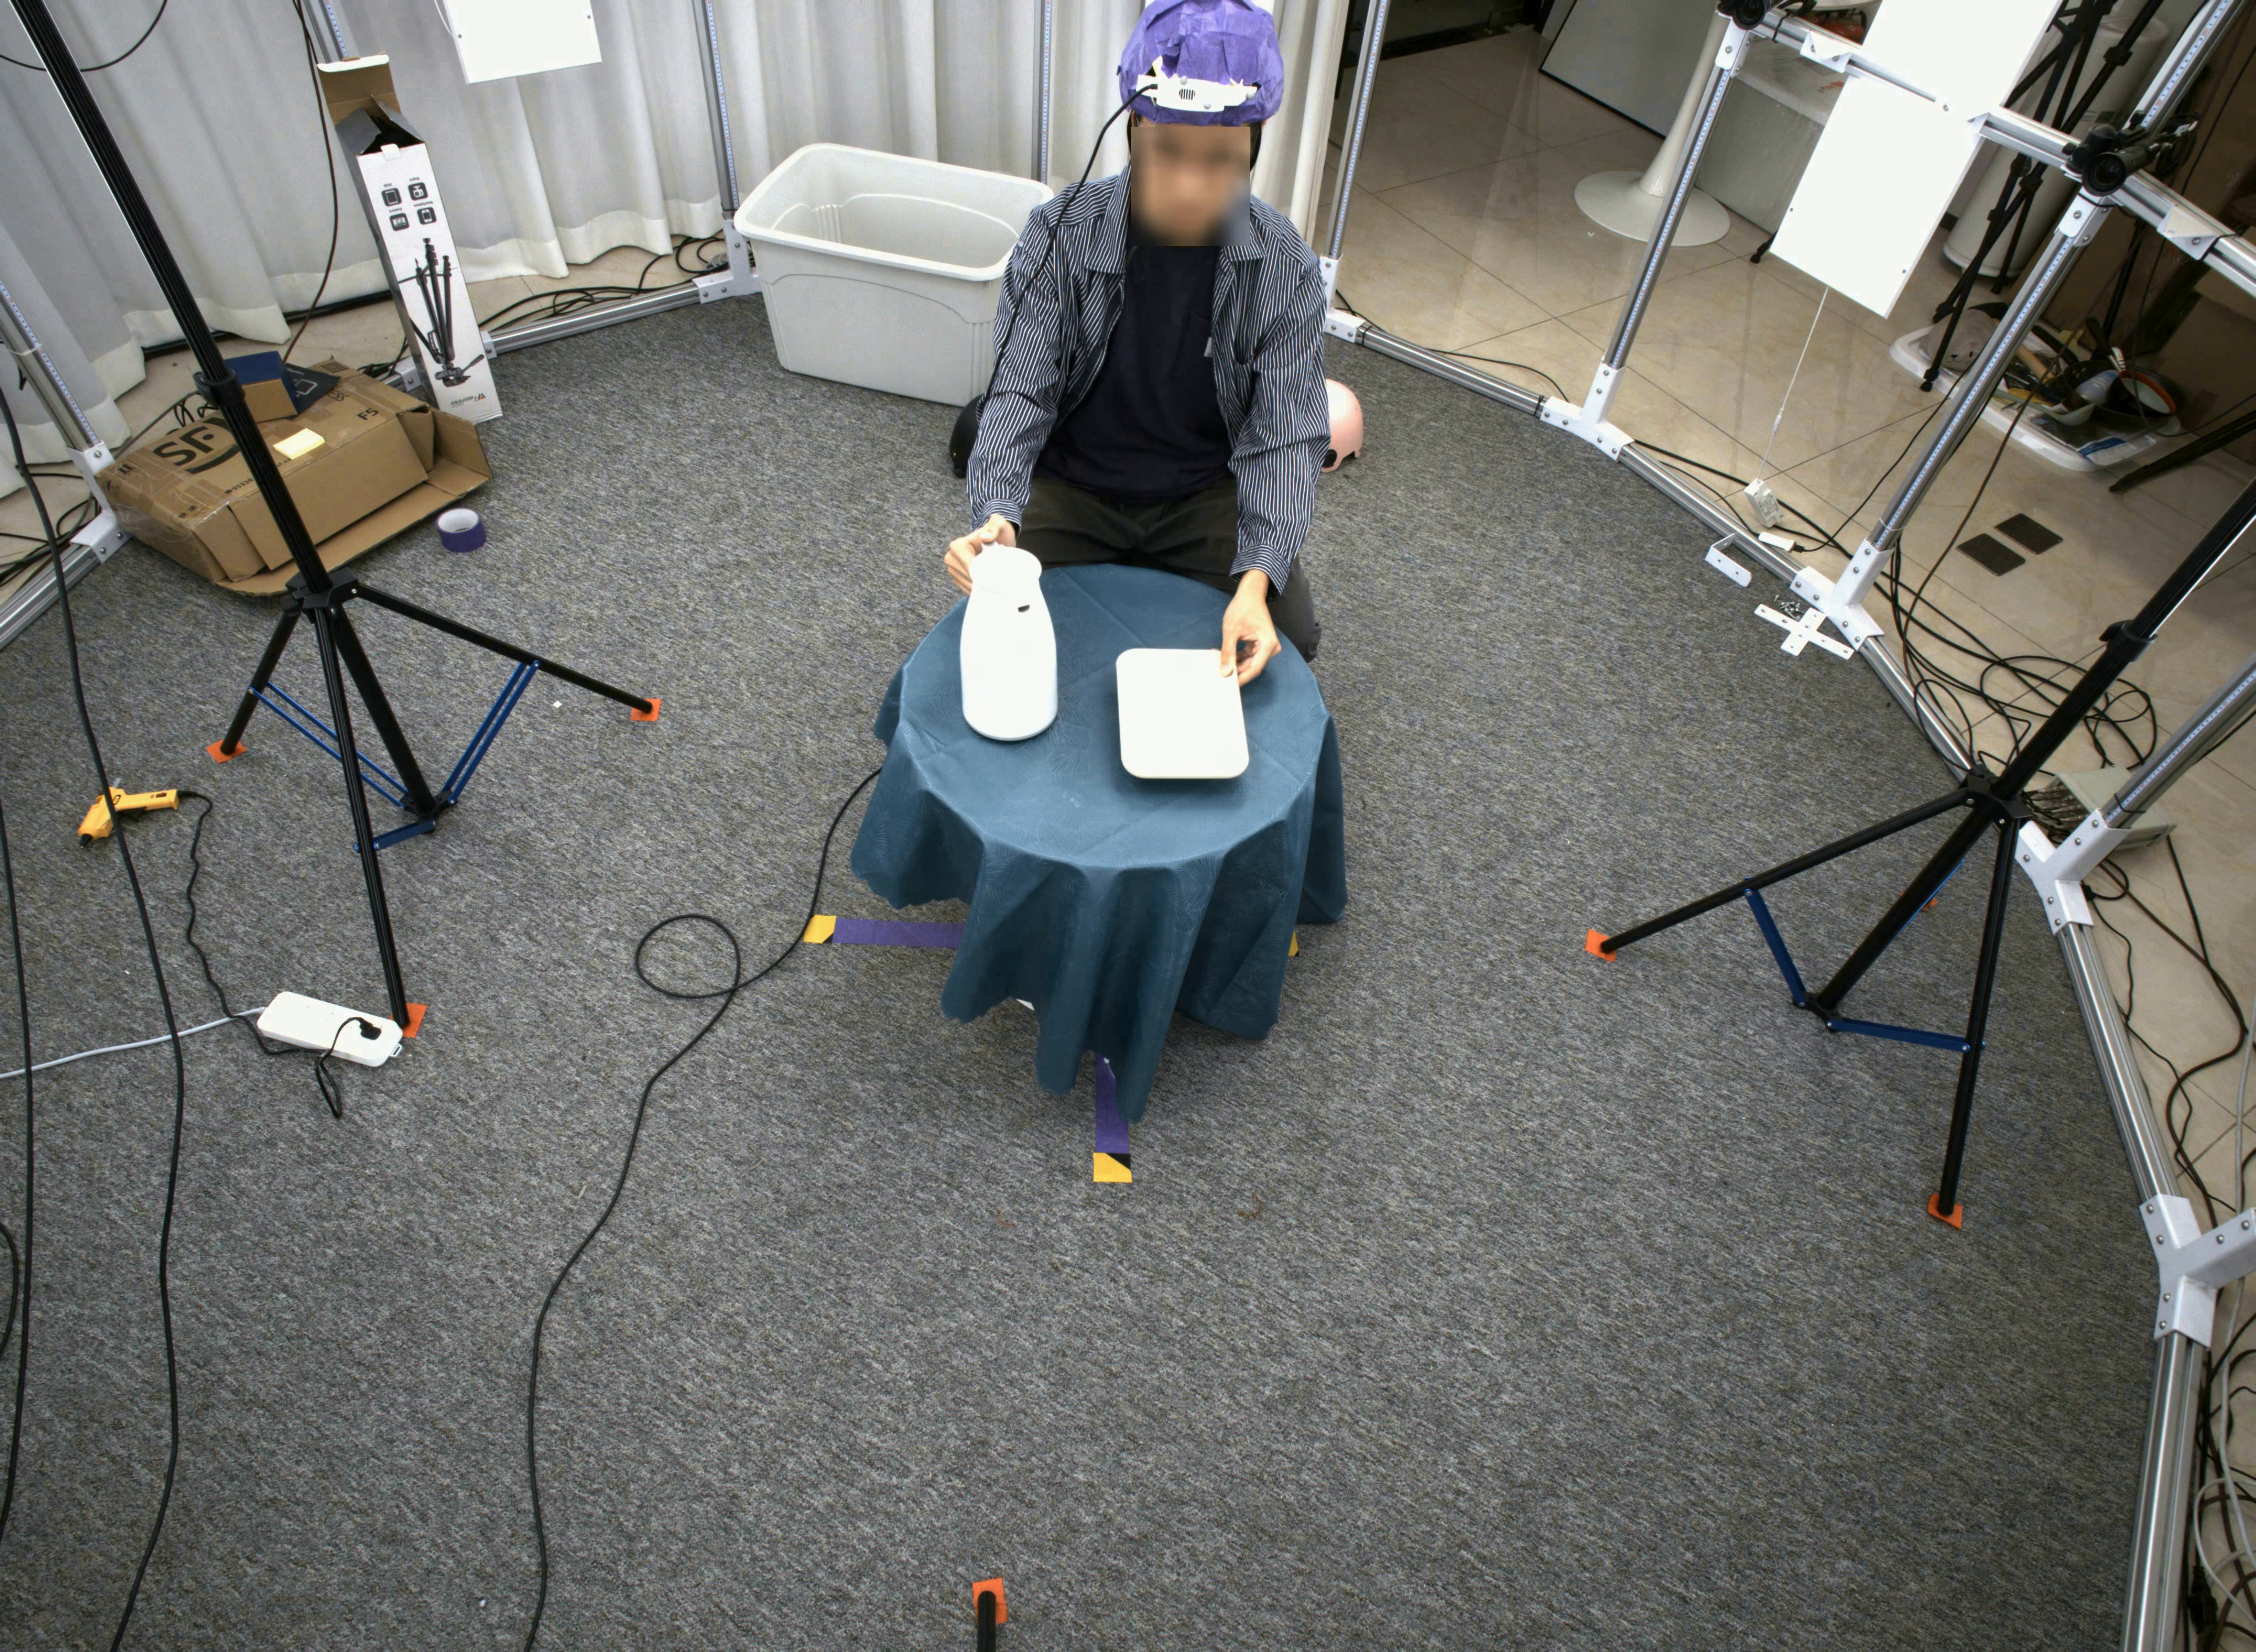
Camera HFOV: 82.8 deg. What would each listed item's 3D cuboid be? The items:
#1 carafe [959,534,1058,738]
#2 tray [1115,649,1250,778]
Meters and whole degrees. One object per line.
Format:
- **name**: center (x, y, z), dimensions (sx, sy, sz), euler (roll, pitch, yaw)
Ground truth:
- **carafe**: center (-0.169, -0.262, 1.704), dimensions (0.133, 0.242, 0.171), euler (-22, 50, -22)
- **tray**: center (0.071, -0.155, 1.752), dimensions (0.171, 0.017, 0.246), euler (1, 49, -5)
